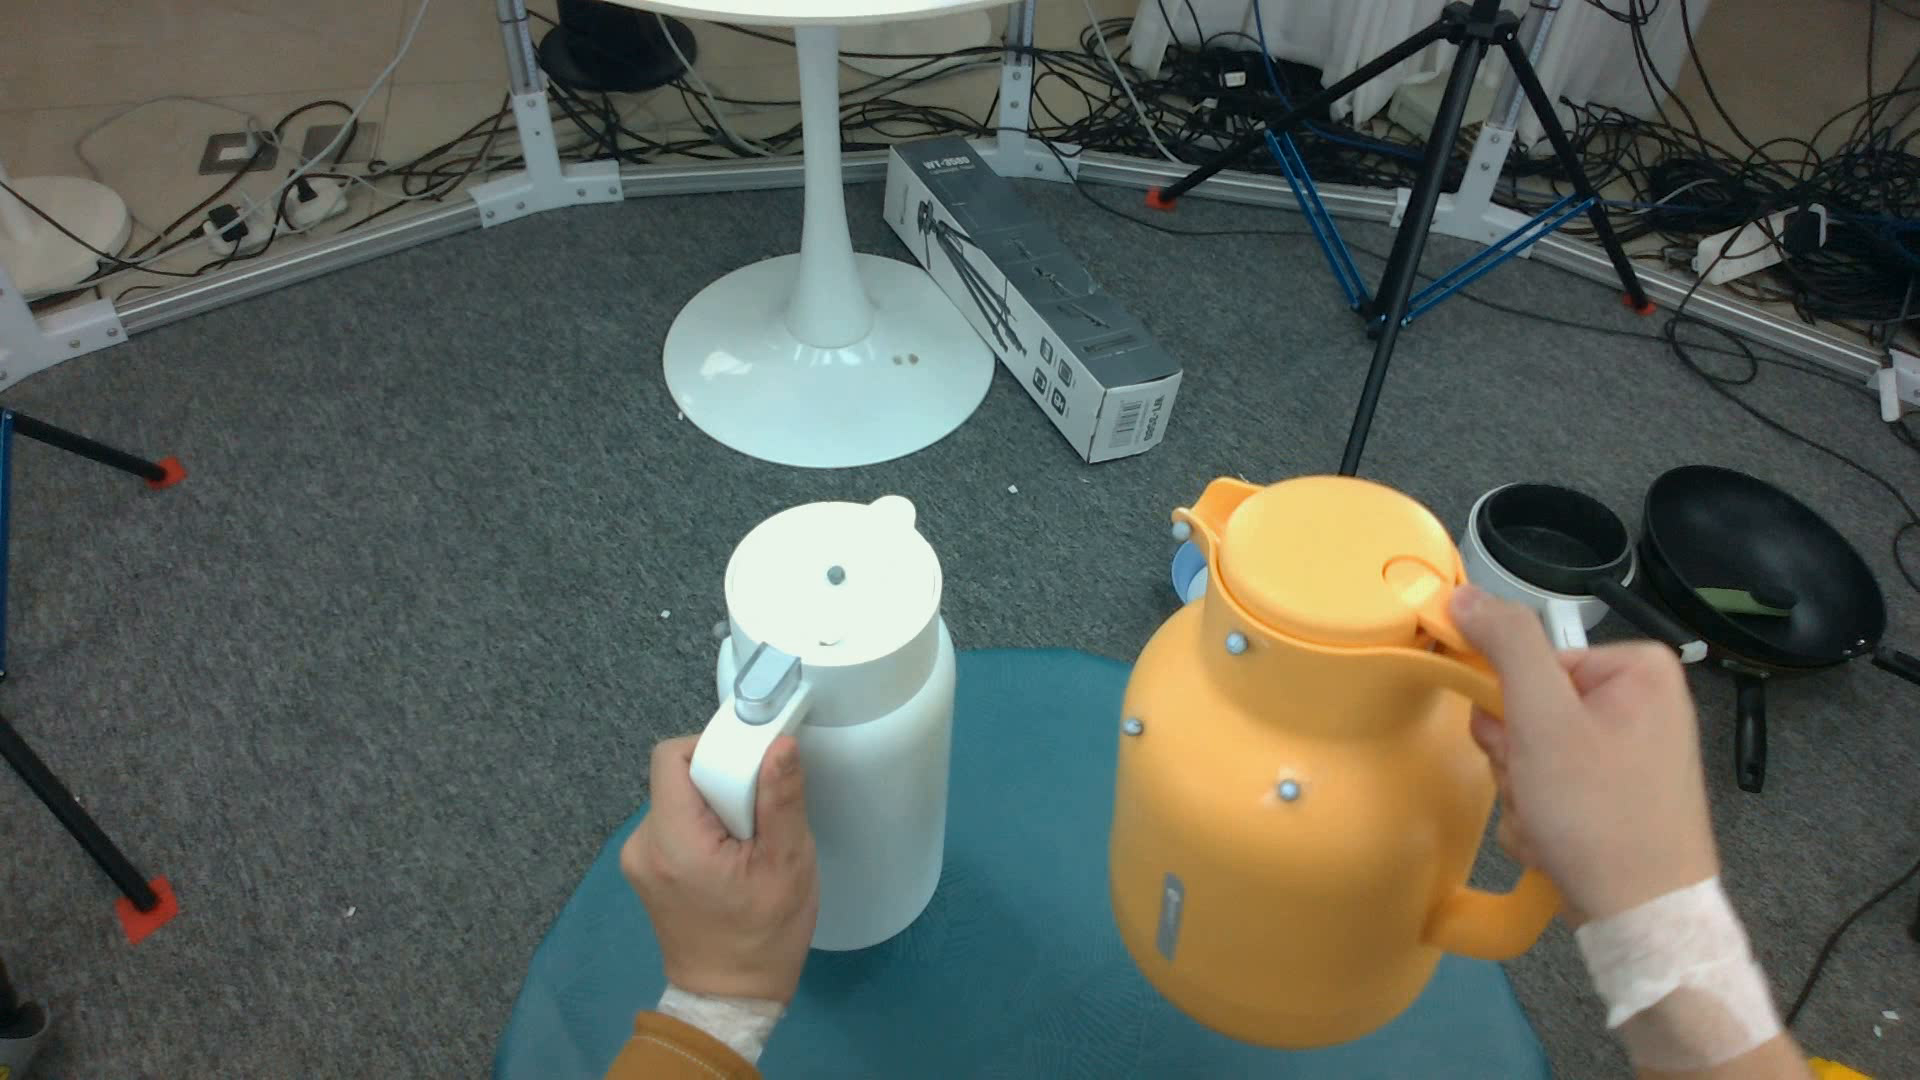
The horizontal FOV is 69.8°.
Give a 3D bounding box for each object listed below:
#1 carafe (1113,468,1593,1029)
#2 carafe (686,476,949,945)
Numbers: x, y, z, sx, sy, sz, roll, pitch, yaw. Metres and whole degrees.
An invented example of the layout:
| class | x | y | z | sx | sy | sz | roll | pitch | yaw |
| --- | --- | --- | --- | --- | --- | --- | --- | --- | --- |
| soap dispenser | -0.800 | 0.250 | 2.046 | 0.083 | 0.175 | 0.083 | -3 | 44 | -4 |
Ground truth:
| class | x | y | z | sx | sy | sz | roll | pitch | yaw |
| --- | --- | --- | --- | --- | --- | --- | --- | --- | --- |
| carafe | 0.162 | 0.101 | 0.605 | 0.164 | 0.259 | 0.202 | -33 | 48 | -26 |
| carafe | -0.073 | 0.113 | 0.710 | 0.124 | 0.267 | 0.174 | 22 | 50 | 12 |
